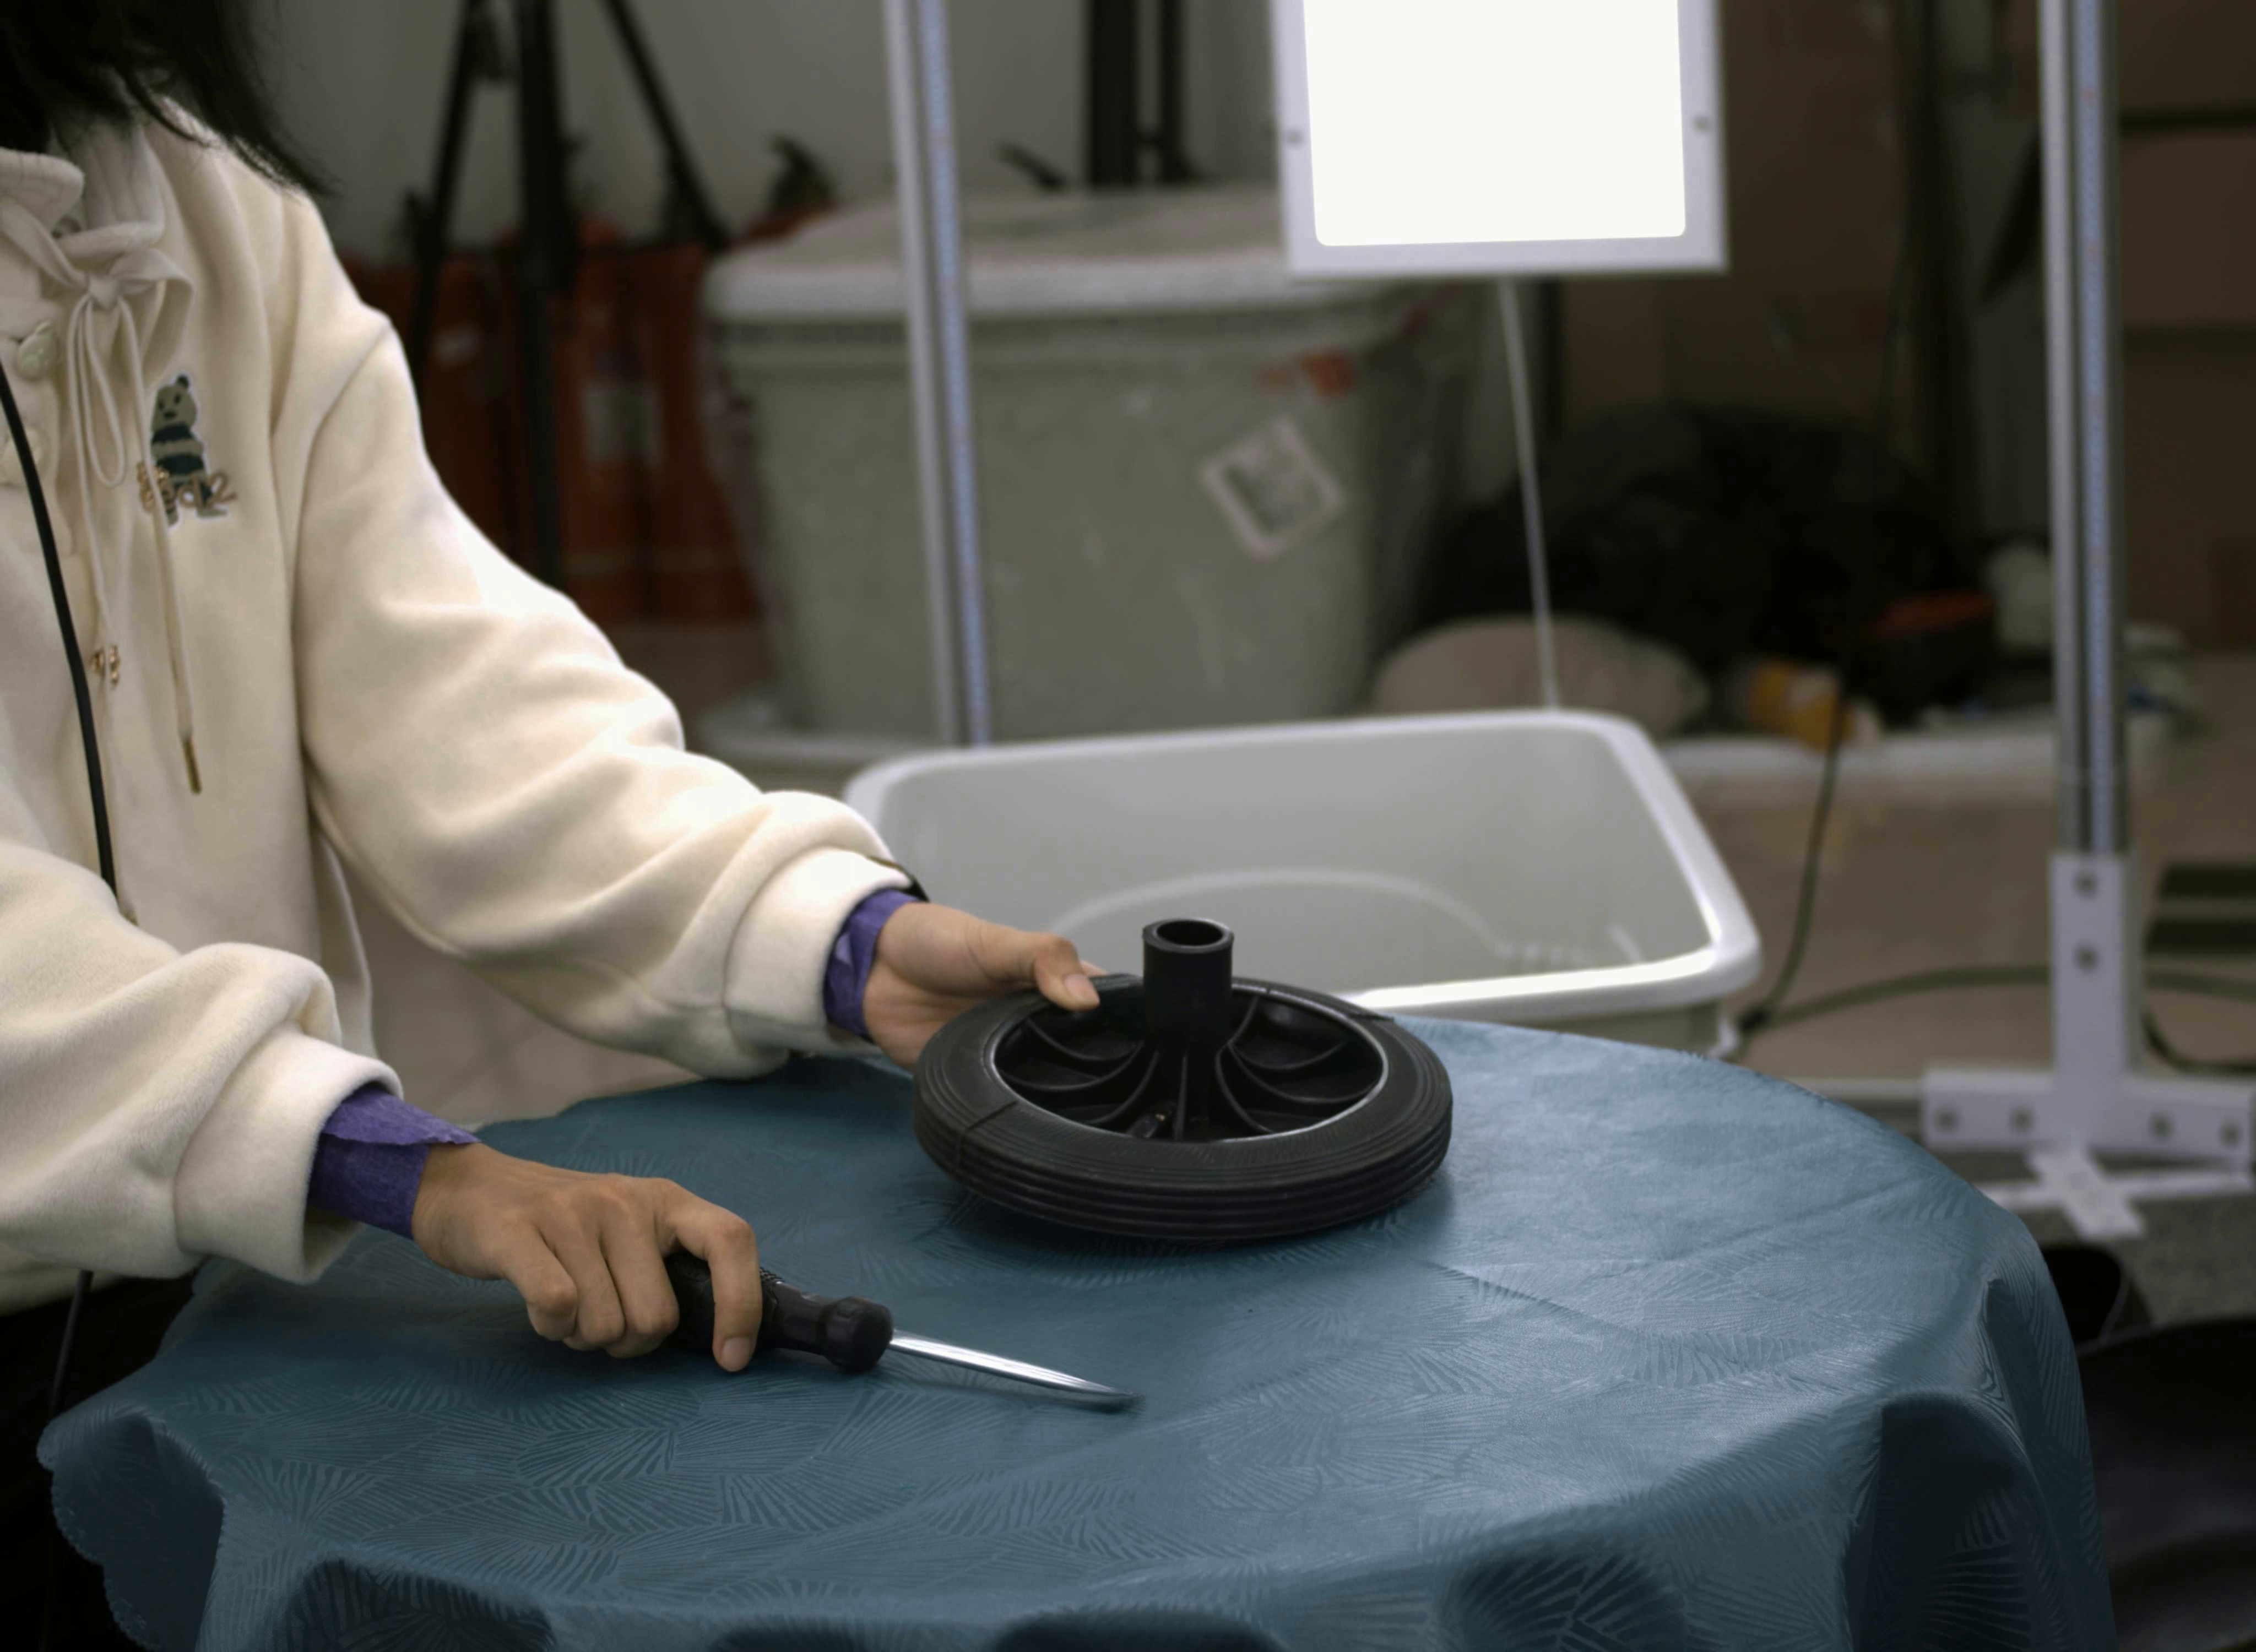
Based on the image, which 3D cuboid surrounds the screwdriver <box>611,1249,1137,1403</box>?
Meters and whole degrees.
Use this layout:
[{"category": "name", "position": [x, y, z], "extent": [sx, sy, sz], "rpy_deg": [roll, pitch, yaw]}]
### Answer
[{"category": "screwdriver", "position": [-0.083, 0.161, 1.735], "extent": [0.202, 0.031, 0.031], "rpy_deg": [9, 19, 36]}]

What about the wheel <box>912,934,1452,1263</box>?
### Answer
[{"category": "wheel", "position": [0.020, 0.080, 1.896], "extent": [0.187, 0.079, 0.189], "rpy_deg": [2, 24, 0]}]
